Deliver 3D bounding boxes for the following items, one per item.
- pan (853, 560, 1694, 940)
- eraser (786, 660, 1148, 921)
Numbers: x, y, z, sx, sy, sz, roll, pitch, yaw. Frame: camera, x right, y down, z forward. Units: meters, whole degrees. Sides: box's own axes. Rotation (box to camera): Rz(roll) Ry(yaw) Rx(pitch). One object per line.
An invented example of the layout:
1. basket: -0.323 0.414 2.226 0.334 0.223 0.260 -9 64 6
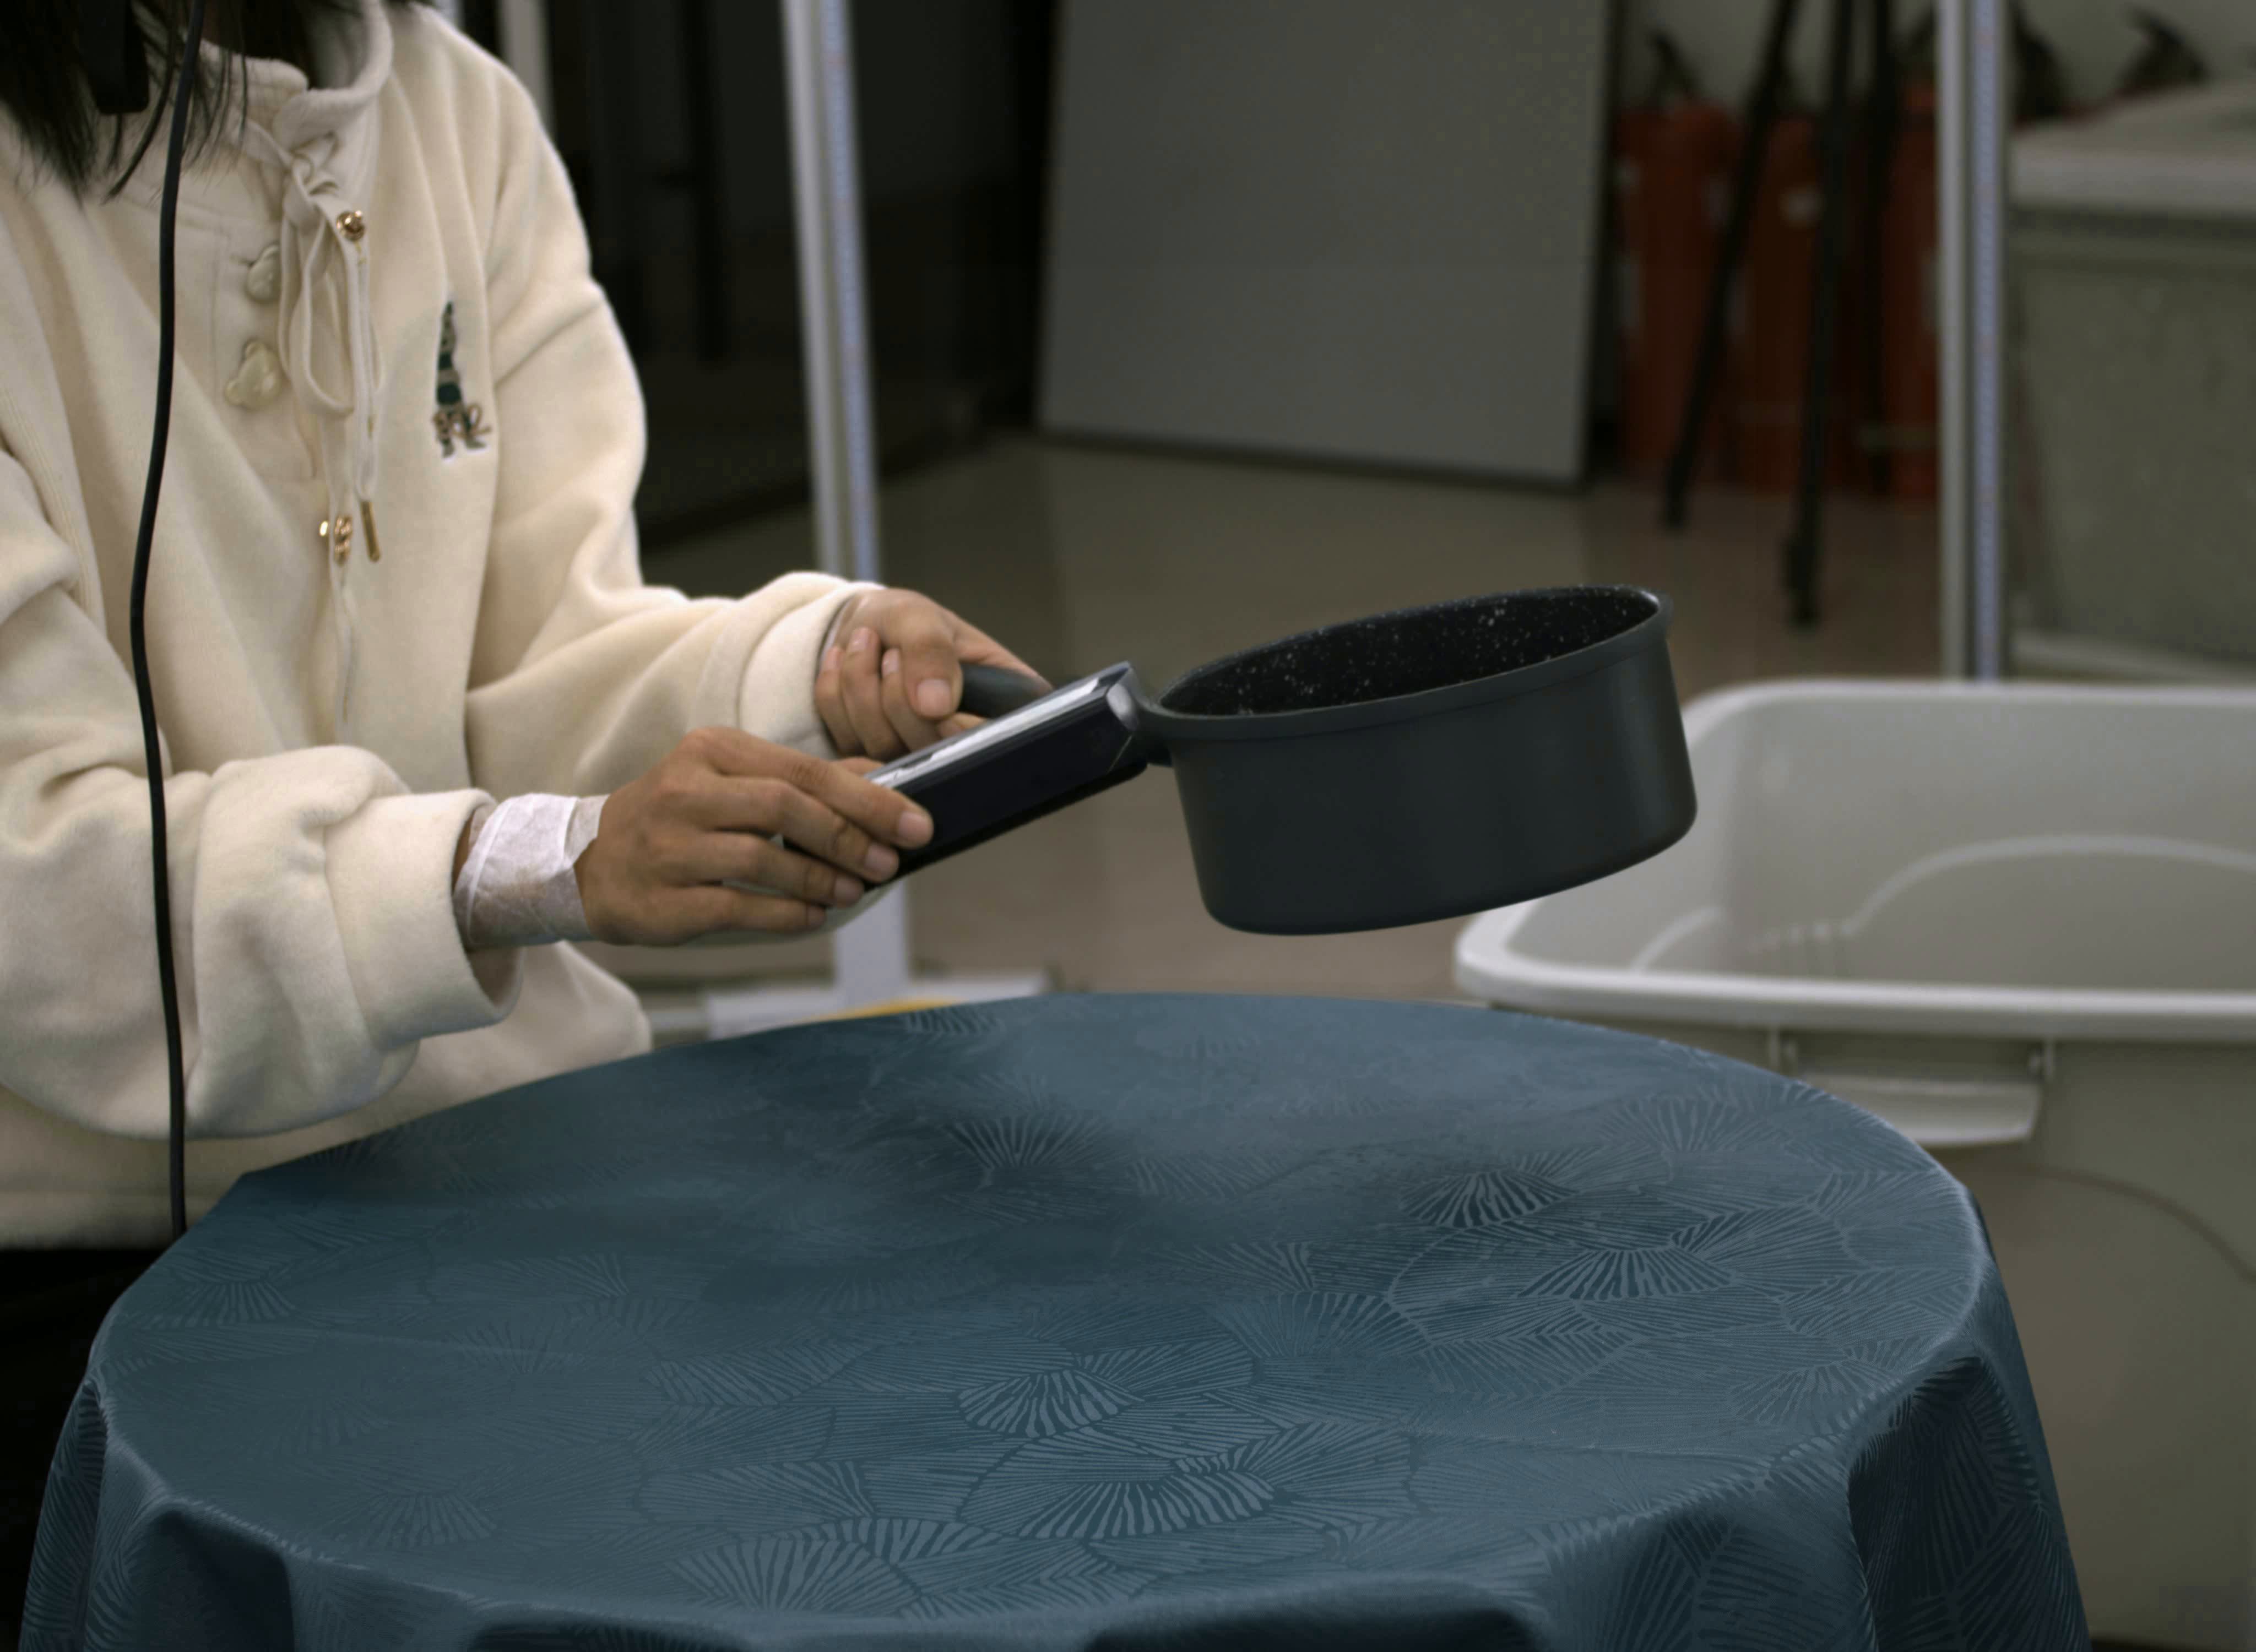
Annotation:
1. pan: 0.037 -0.024 1.775 0.331 0.087 0.169 -1 15 44
2. eraser: -0.049 -0.012 1.756 0.125 0.030 0.053 -26 9 19
